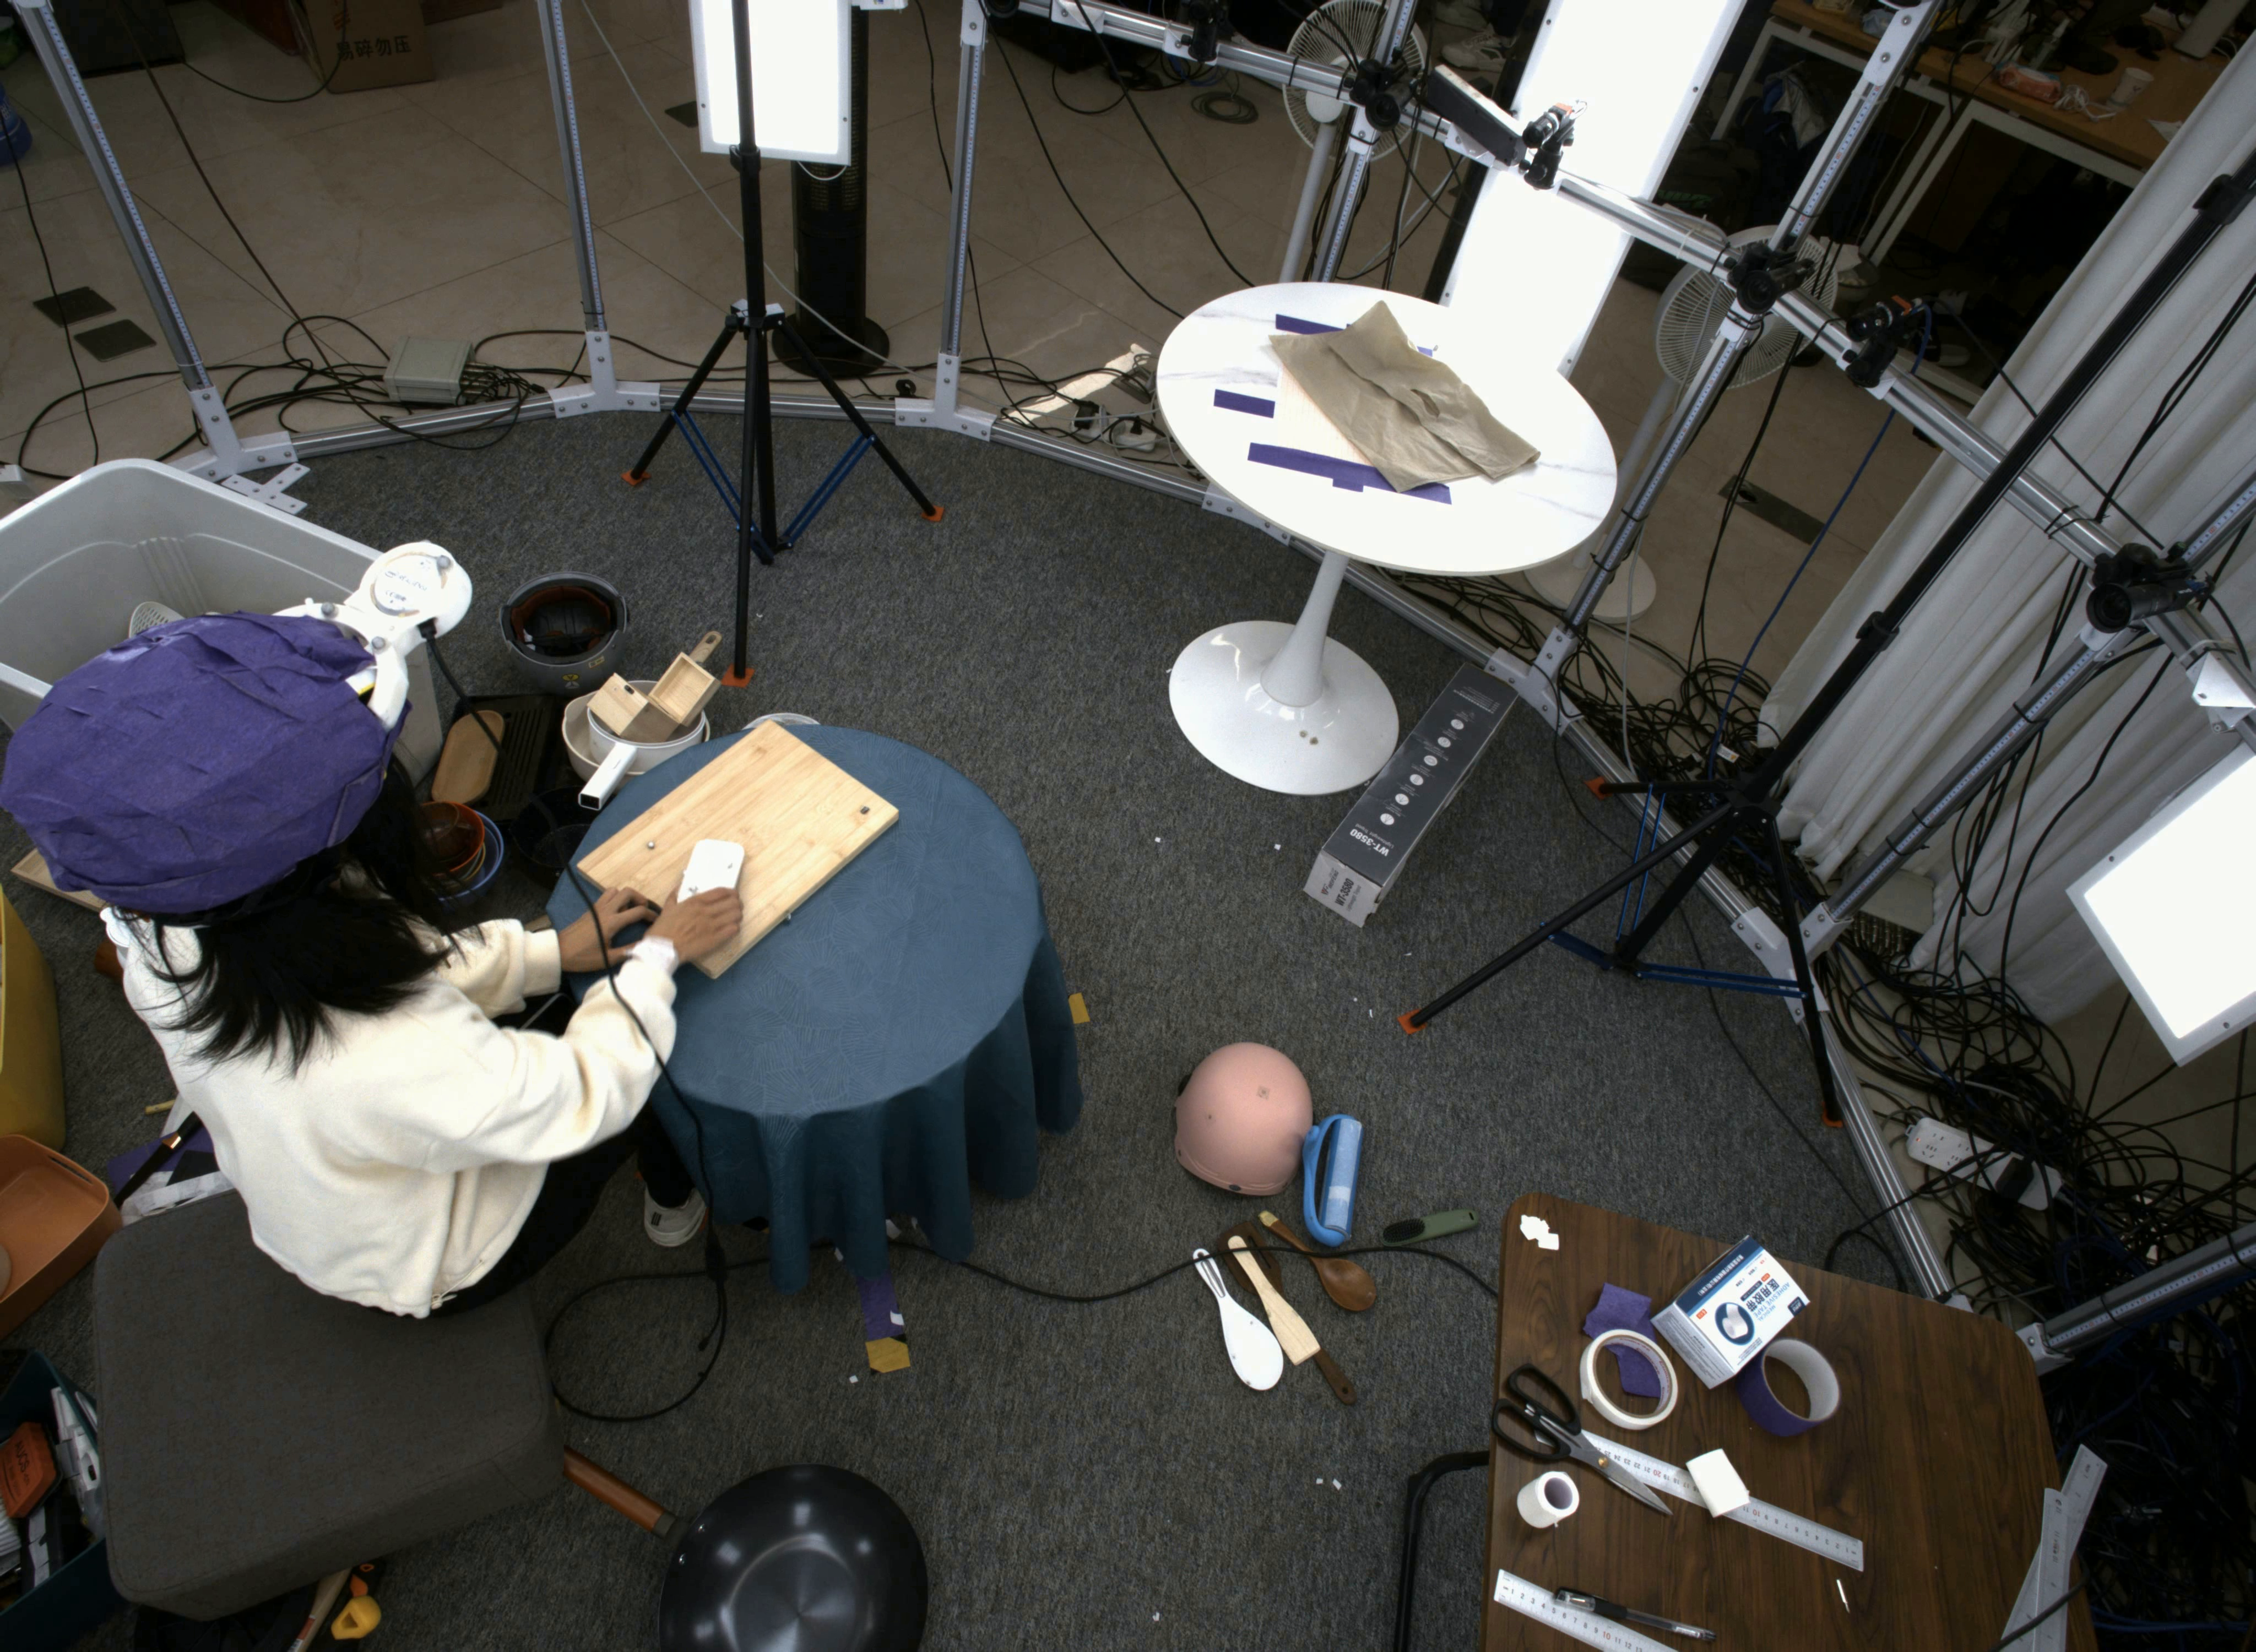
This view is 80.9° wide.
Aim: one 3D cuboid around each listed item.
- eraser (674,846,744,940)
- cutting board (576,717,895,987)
[{"bbox_3d":[-0.515,0.077,1.583,0.063,0.035,0.129,11,48,-7],"label":"eraser"},{"bbox_3d":[-0.504,0.021,1.672,0.246,0.024,0.348,34,53,11],"label":"cutting board"}]
